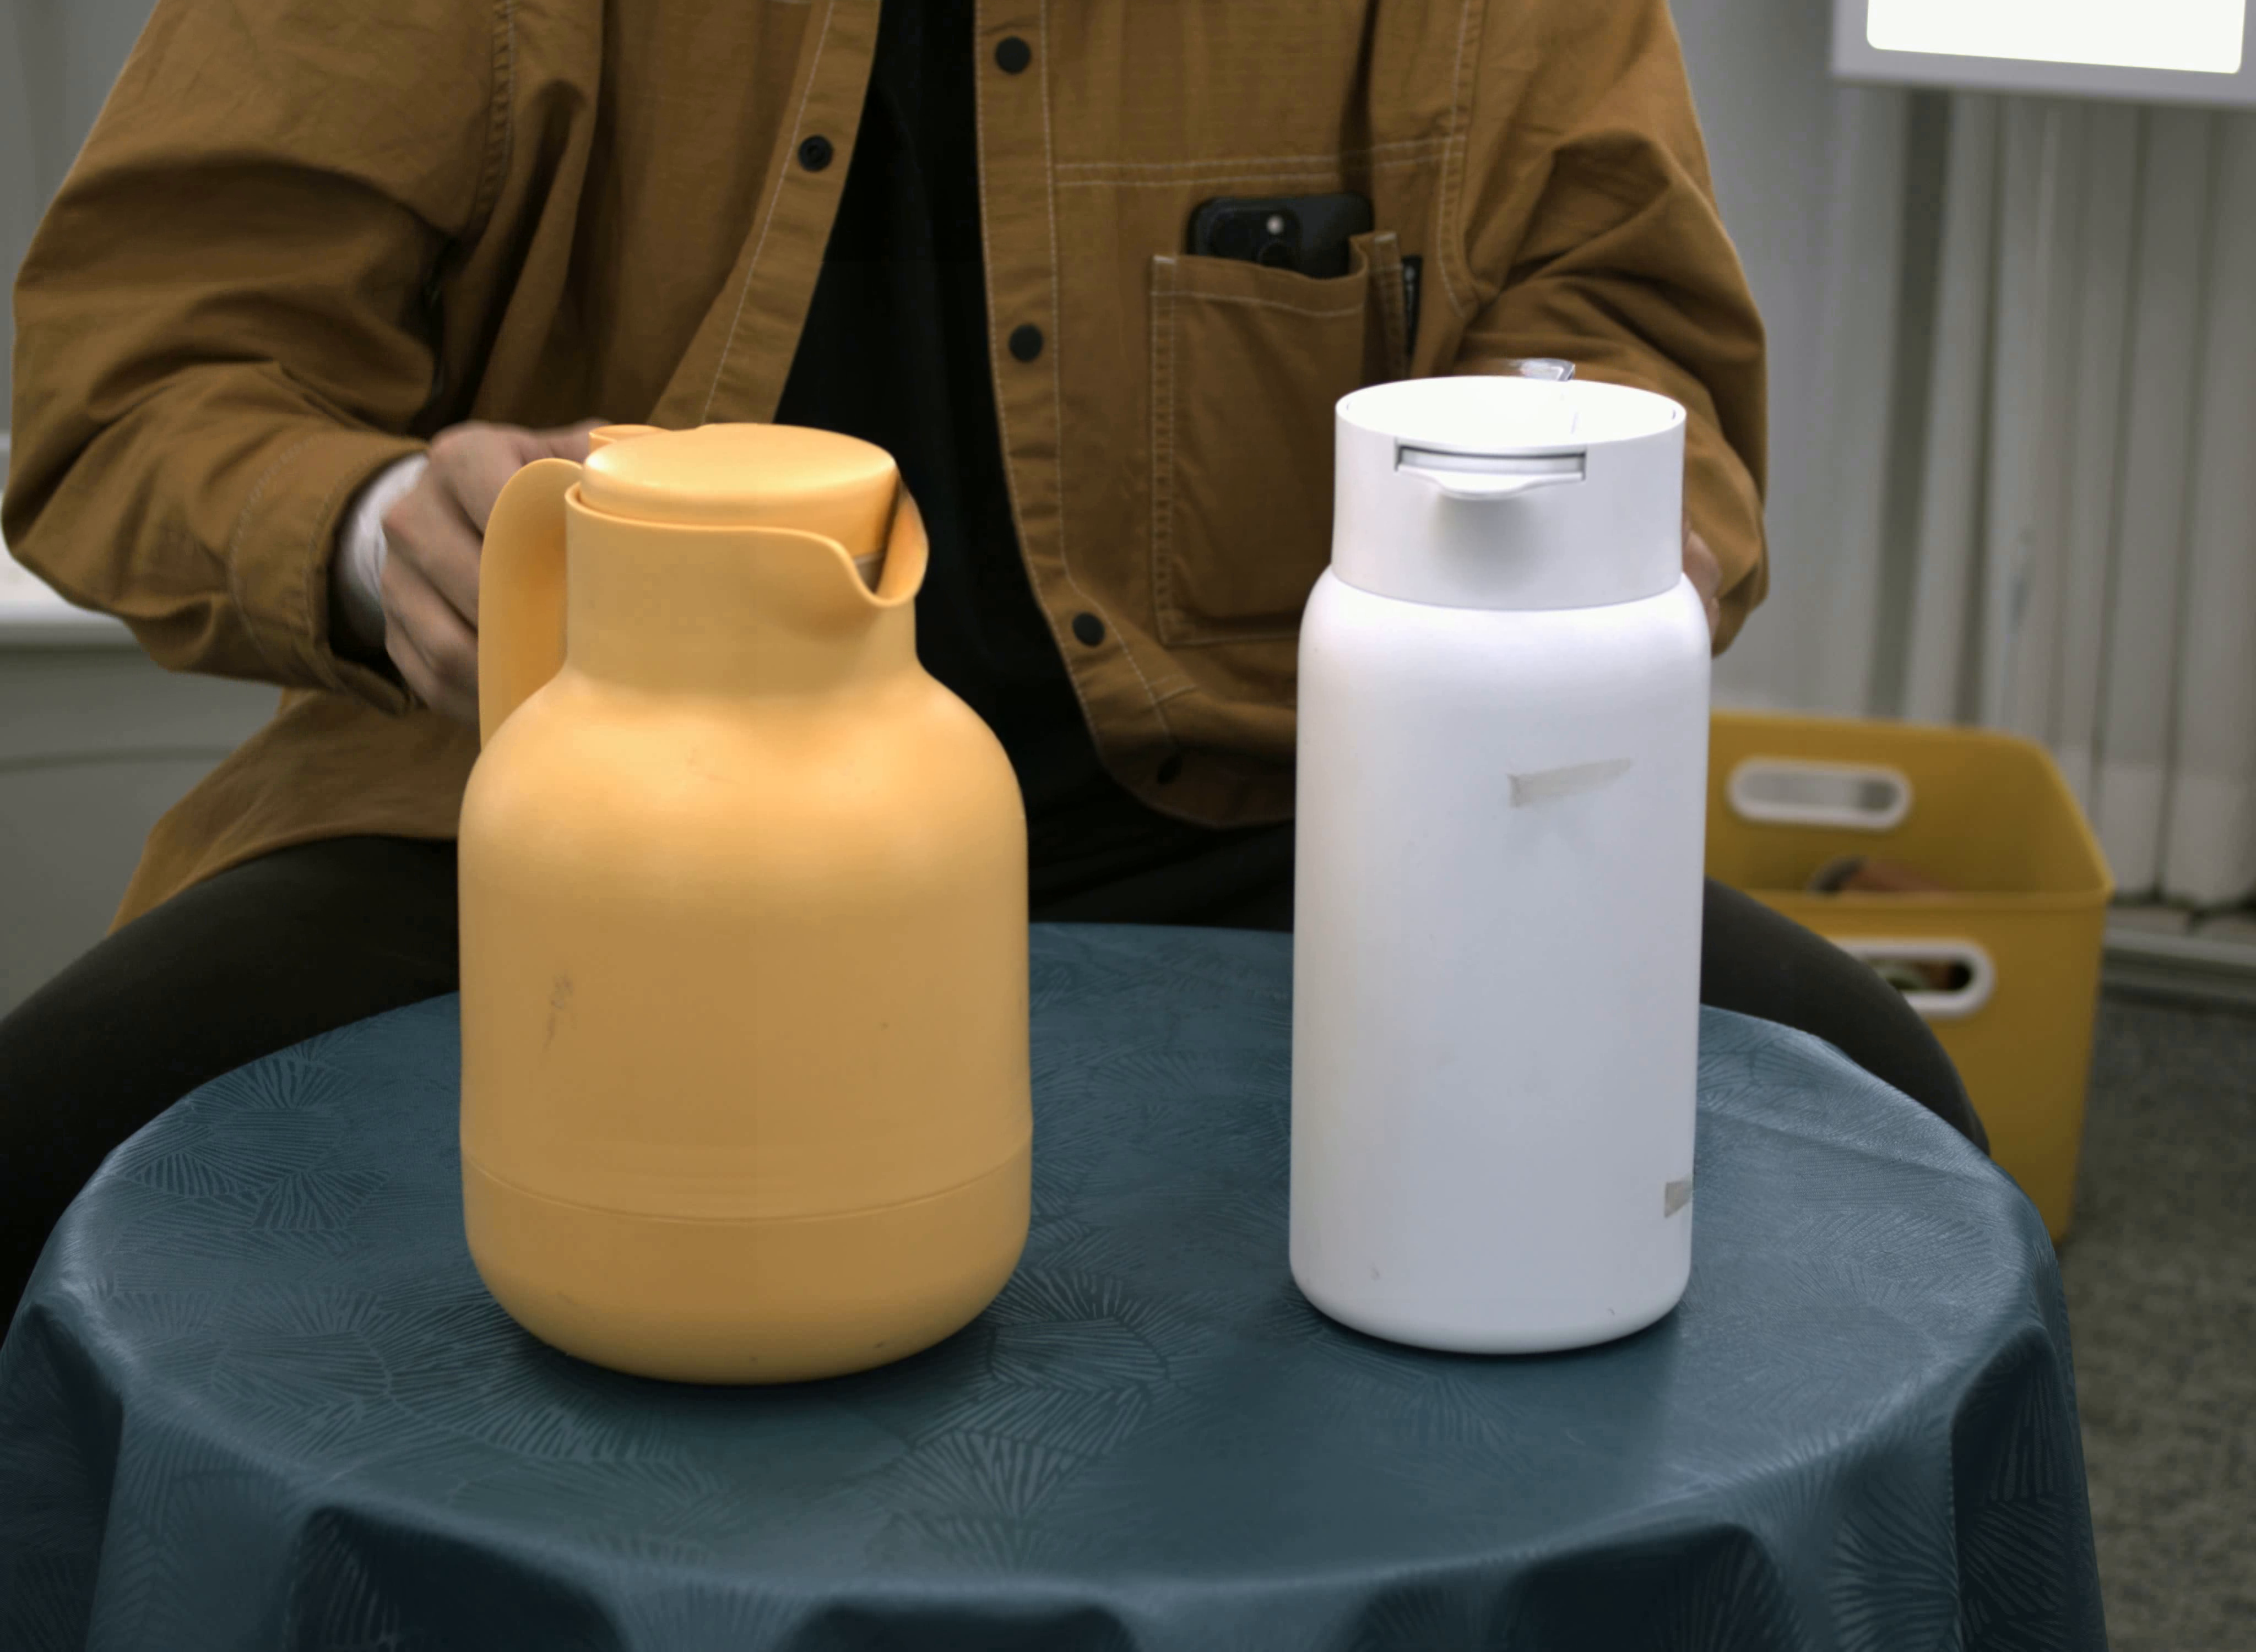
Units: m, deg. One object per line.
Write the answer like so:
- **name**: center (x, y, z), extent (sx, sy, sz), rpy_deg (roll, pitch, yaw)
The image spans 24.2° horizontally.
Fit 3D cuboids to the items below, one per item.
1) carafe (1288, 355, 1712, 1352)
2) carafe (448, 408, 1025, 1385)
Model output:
- **carafe**: center (0.108, 0.003, 1.517), extent (0.123, 0.271, 0.172), rpy_deg (1, 16, 10)
- **carafe**: center (-0.119, 0.011, 1.492), extent (0.164, 0.262, 0.199), rpy_deg (-8, 19, -35)
